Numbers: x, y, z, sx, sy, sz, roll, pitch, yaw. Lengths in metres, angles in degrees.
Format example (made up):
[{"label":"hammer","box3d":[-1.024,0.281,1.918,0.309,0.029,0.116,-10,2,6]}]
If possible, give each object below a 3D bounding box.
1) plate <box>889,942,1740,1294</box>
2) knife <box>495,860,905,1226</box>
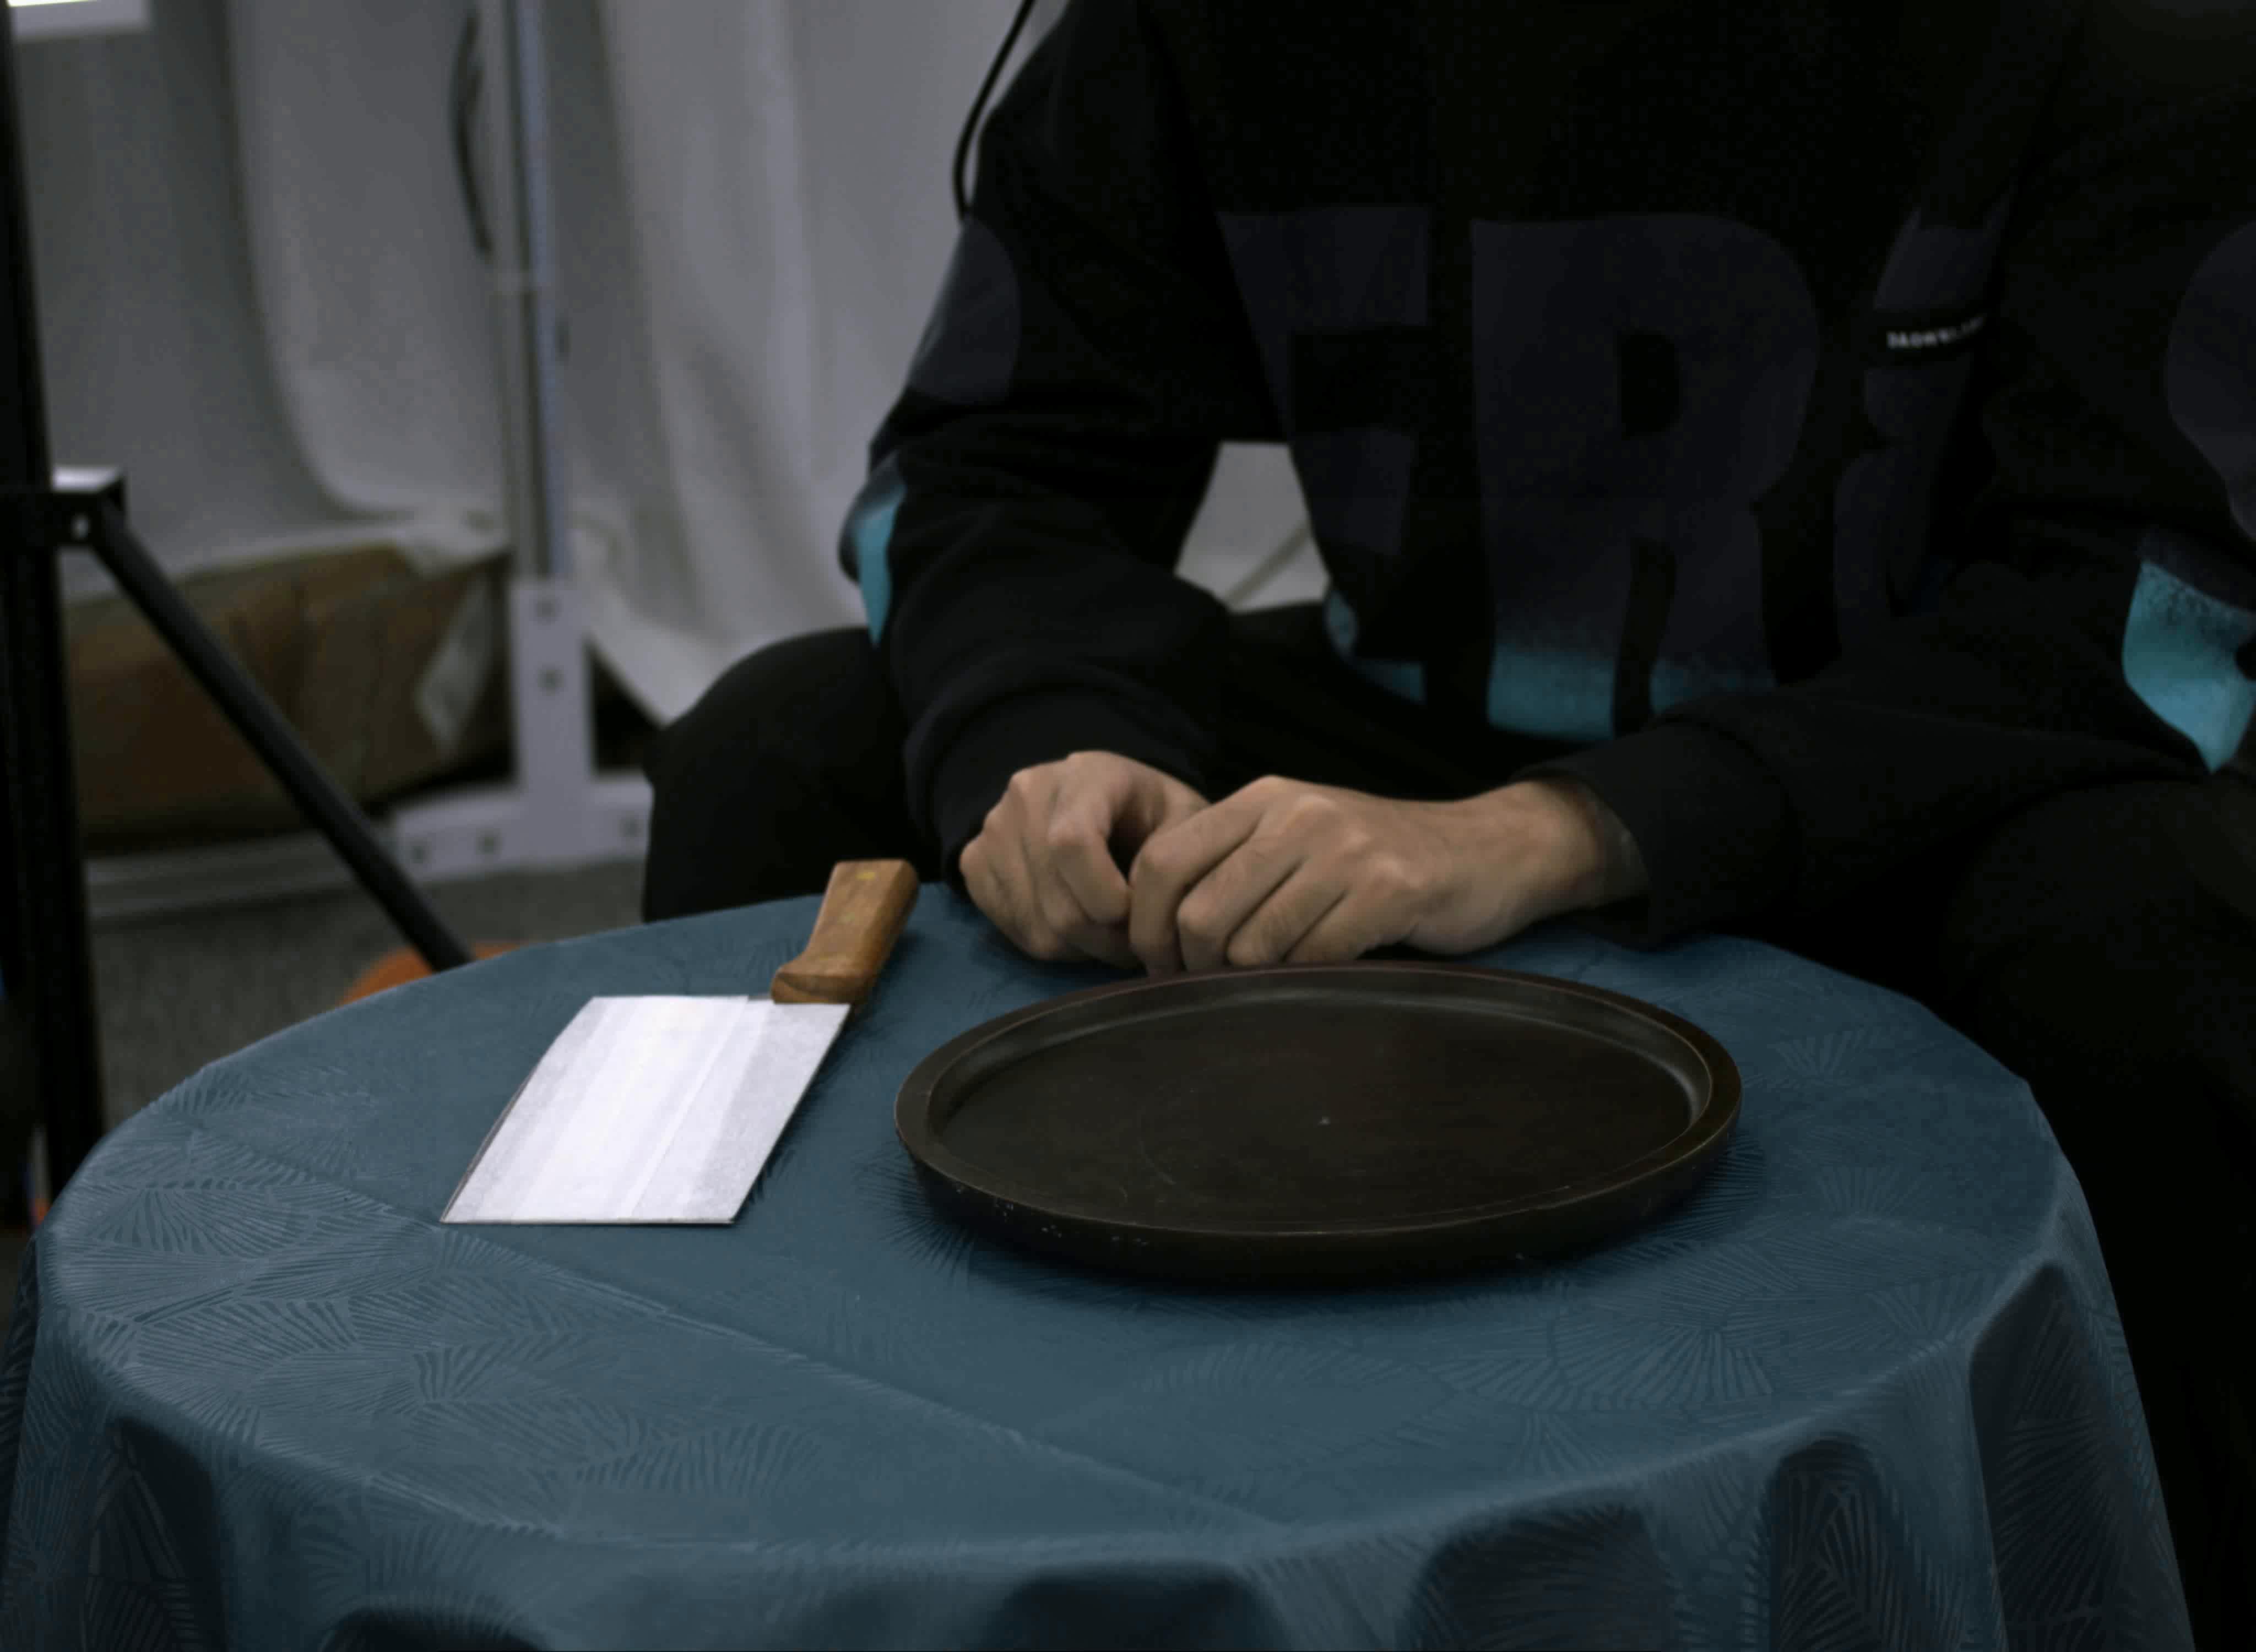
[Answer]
[{"label":"plate","box3d":[0.055,0.087,1.576,0.253,0.029,0.256,-5,16,0]},{"label":"knife","box3d":[-0.135,0.068,1.696,0.093,0.021,0.305,-2,18,9]}]
